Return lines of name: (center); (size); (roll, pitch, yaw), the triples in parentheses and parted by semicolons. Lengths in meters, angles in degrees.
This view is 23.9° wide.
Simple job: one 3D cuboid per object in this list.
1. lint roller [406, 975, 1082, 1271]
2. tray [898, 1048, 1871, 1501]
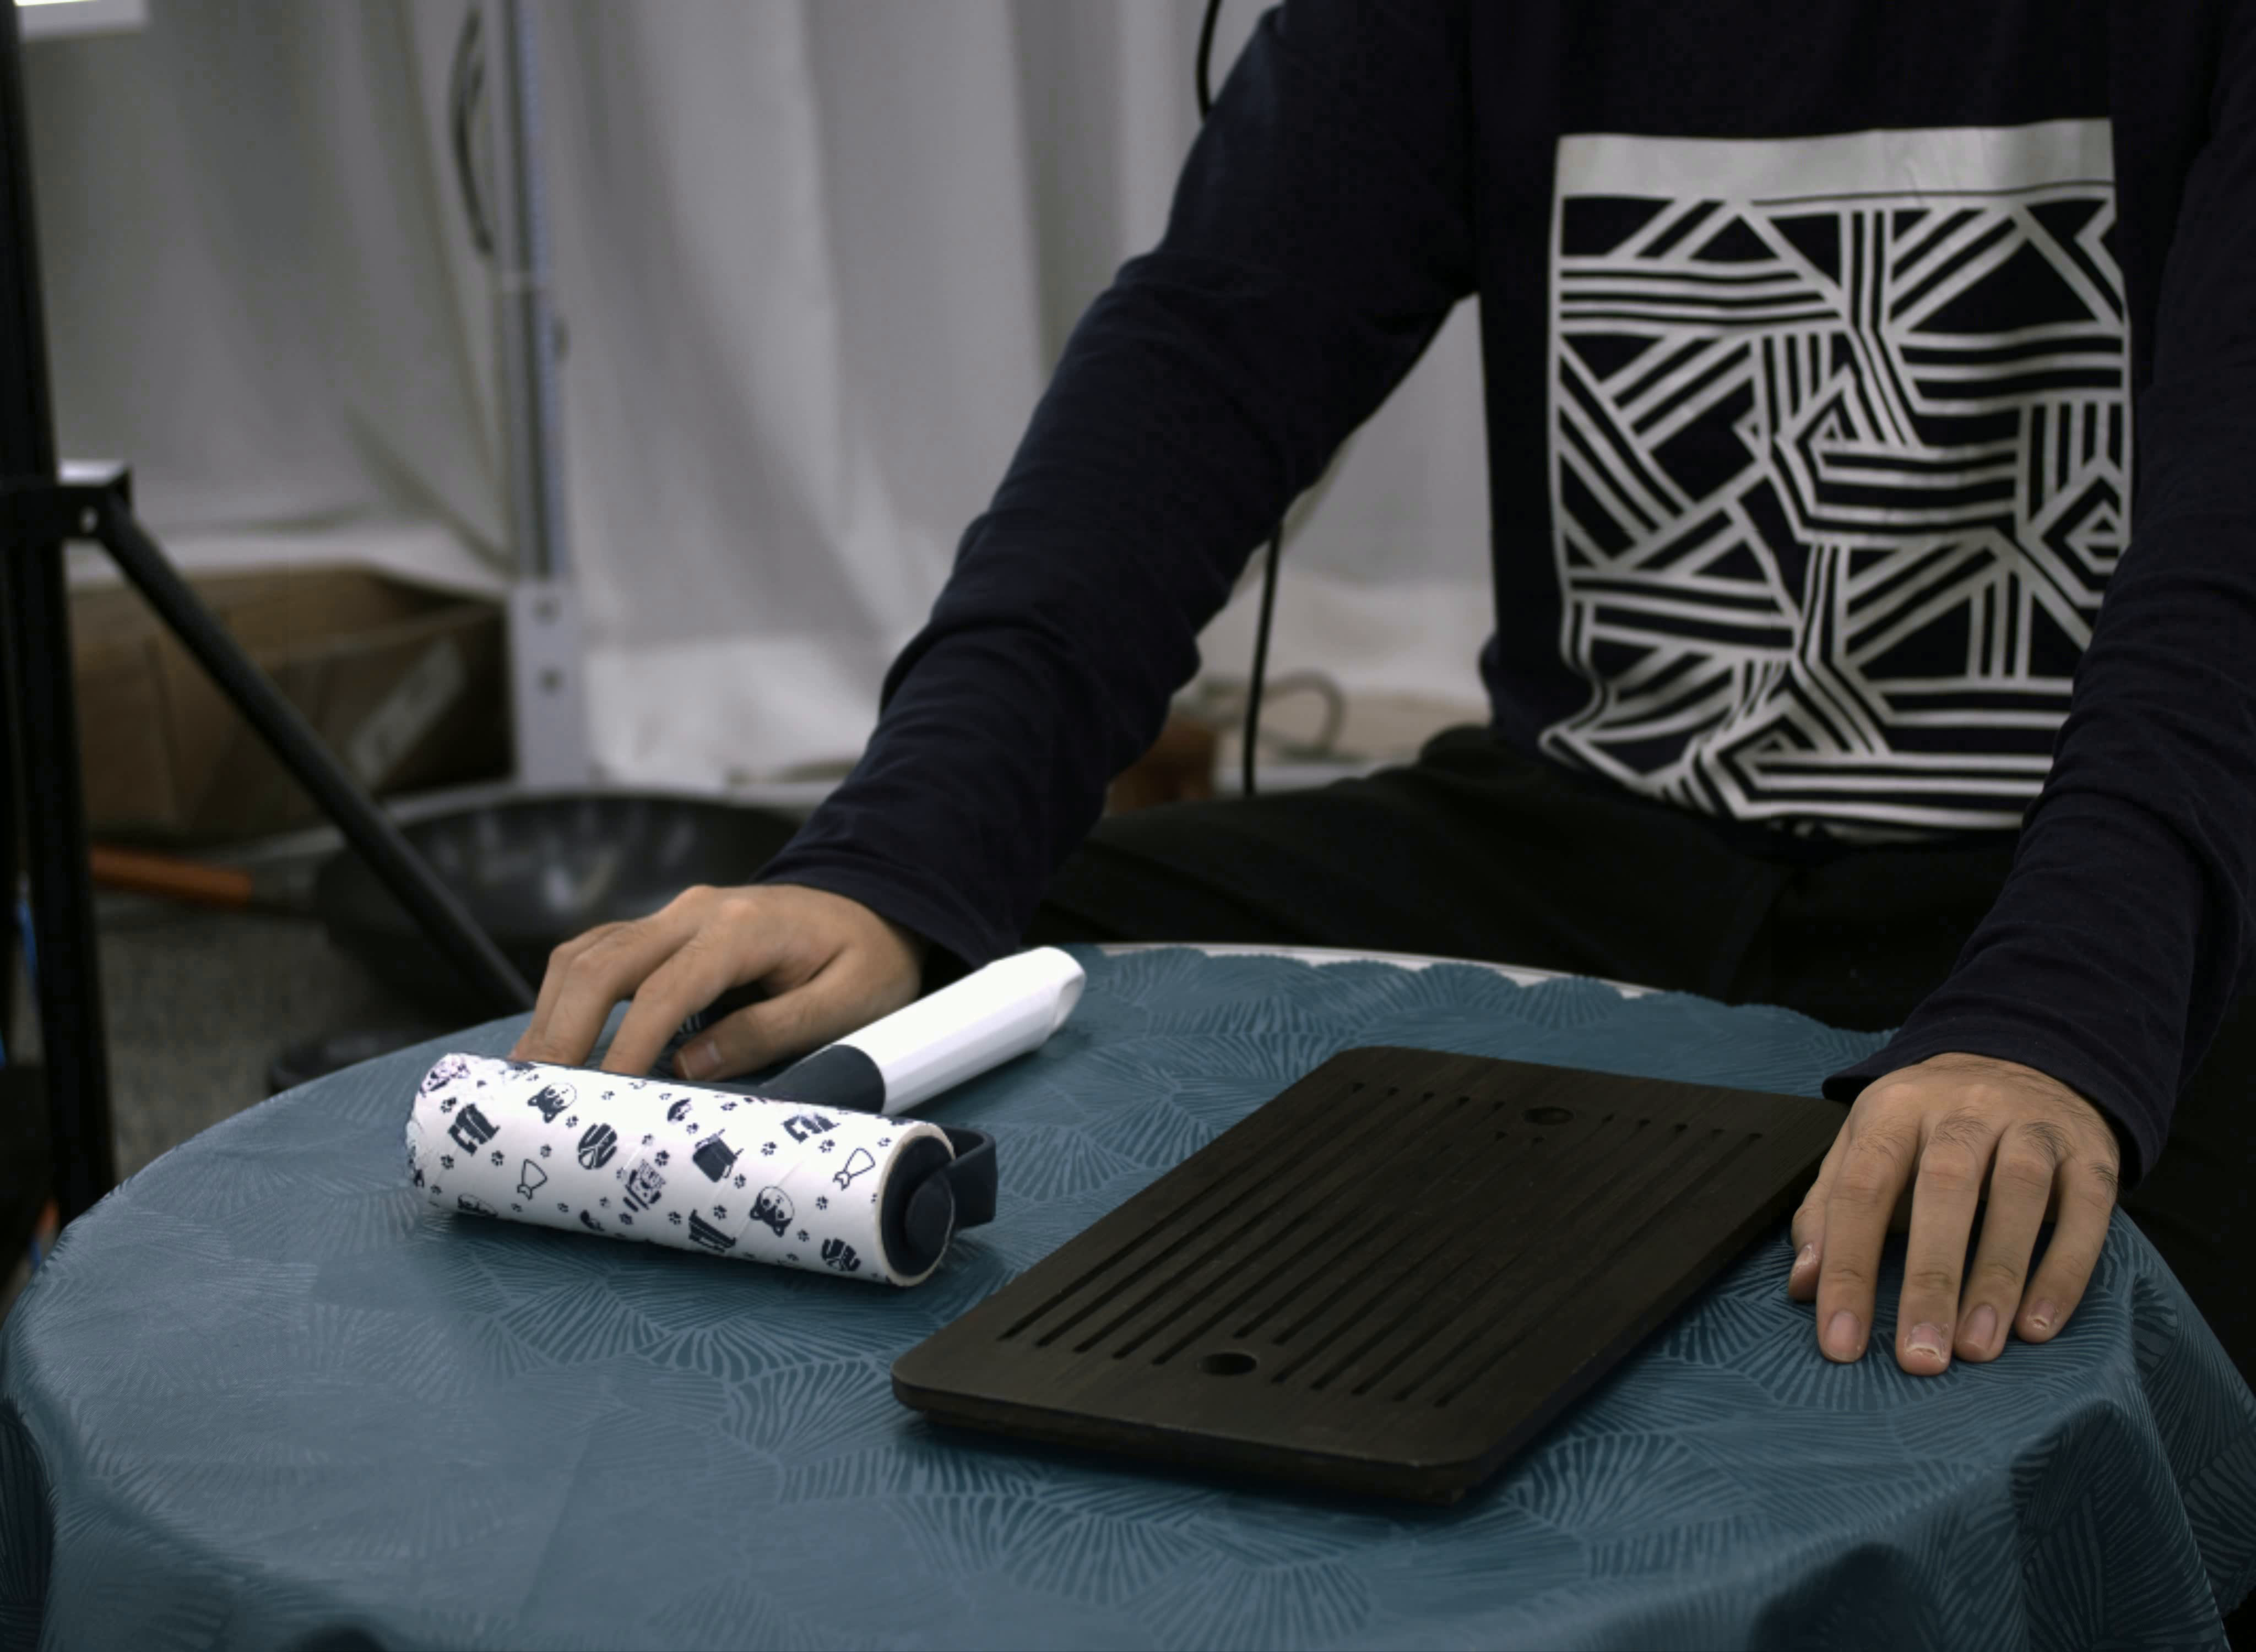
lint roller: (-0.082, 0.075, 1.616); (0.179, 0.050, 0.242); (5, 15, 28)
tray: (0.079, 0.121, 1.471); (0.173, 0.018, 0.301); (6, 17, 28)
